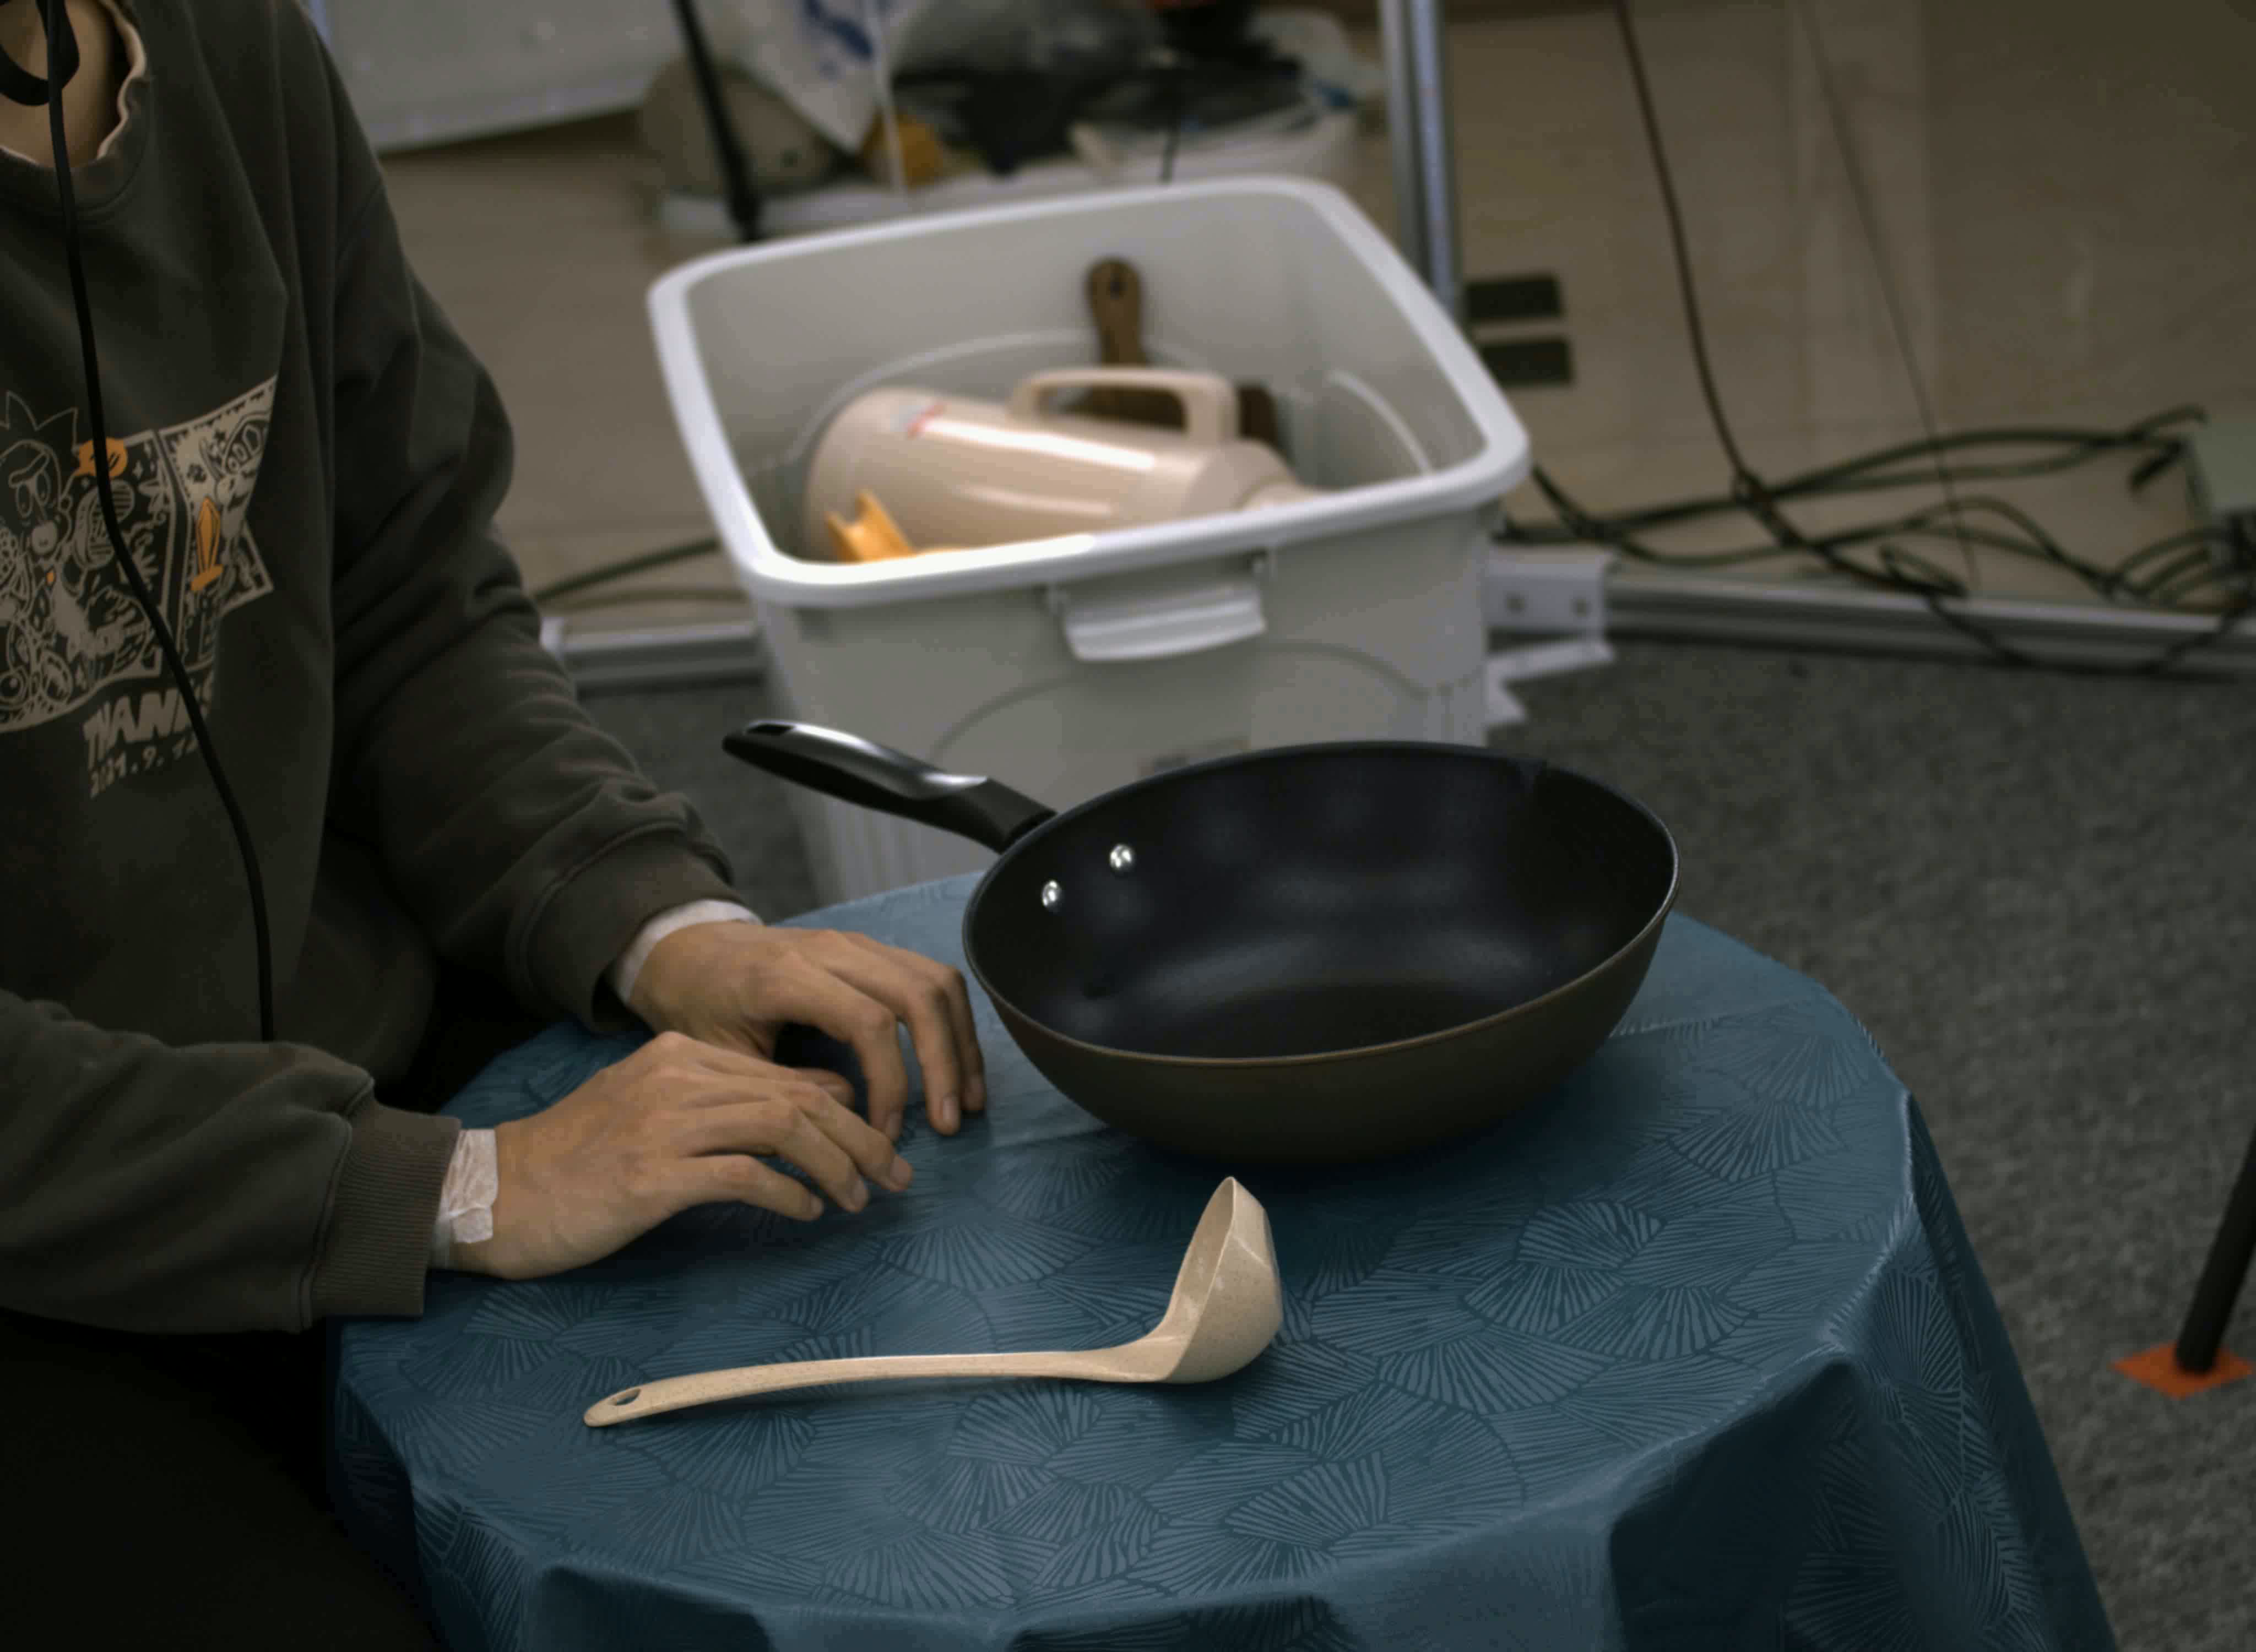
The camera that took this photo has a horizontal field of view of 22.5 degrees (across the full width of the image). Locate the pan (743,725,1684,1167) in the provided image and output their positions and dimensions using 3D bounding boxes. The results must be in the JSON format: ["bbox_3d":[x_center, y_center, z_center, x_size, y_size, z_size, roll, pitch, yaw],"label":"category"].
[{"bbox_3d":[0.011,0.041,2.254,0.460,0.088,0.285,15,33,41],"label":"pan"}]

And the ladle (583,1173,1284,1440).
[{"bbox_3d":[-0.073,0.171,2.010,0.254,0.074,0.071,-6,31,1],"label":"ladle"}]
